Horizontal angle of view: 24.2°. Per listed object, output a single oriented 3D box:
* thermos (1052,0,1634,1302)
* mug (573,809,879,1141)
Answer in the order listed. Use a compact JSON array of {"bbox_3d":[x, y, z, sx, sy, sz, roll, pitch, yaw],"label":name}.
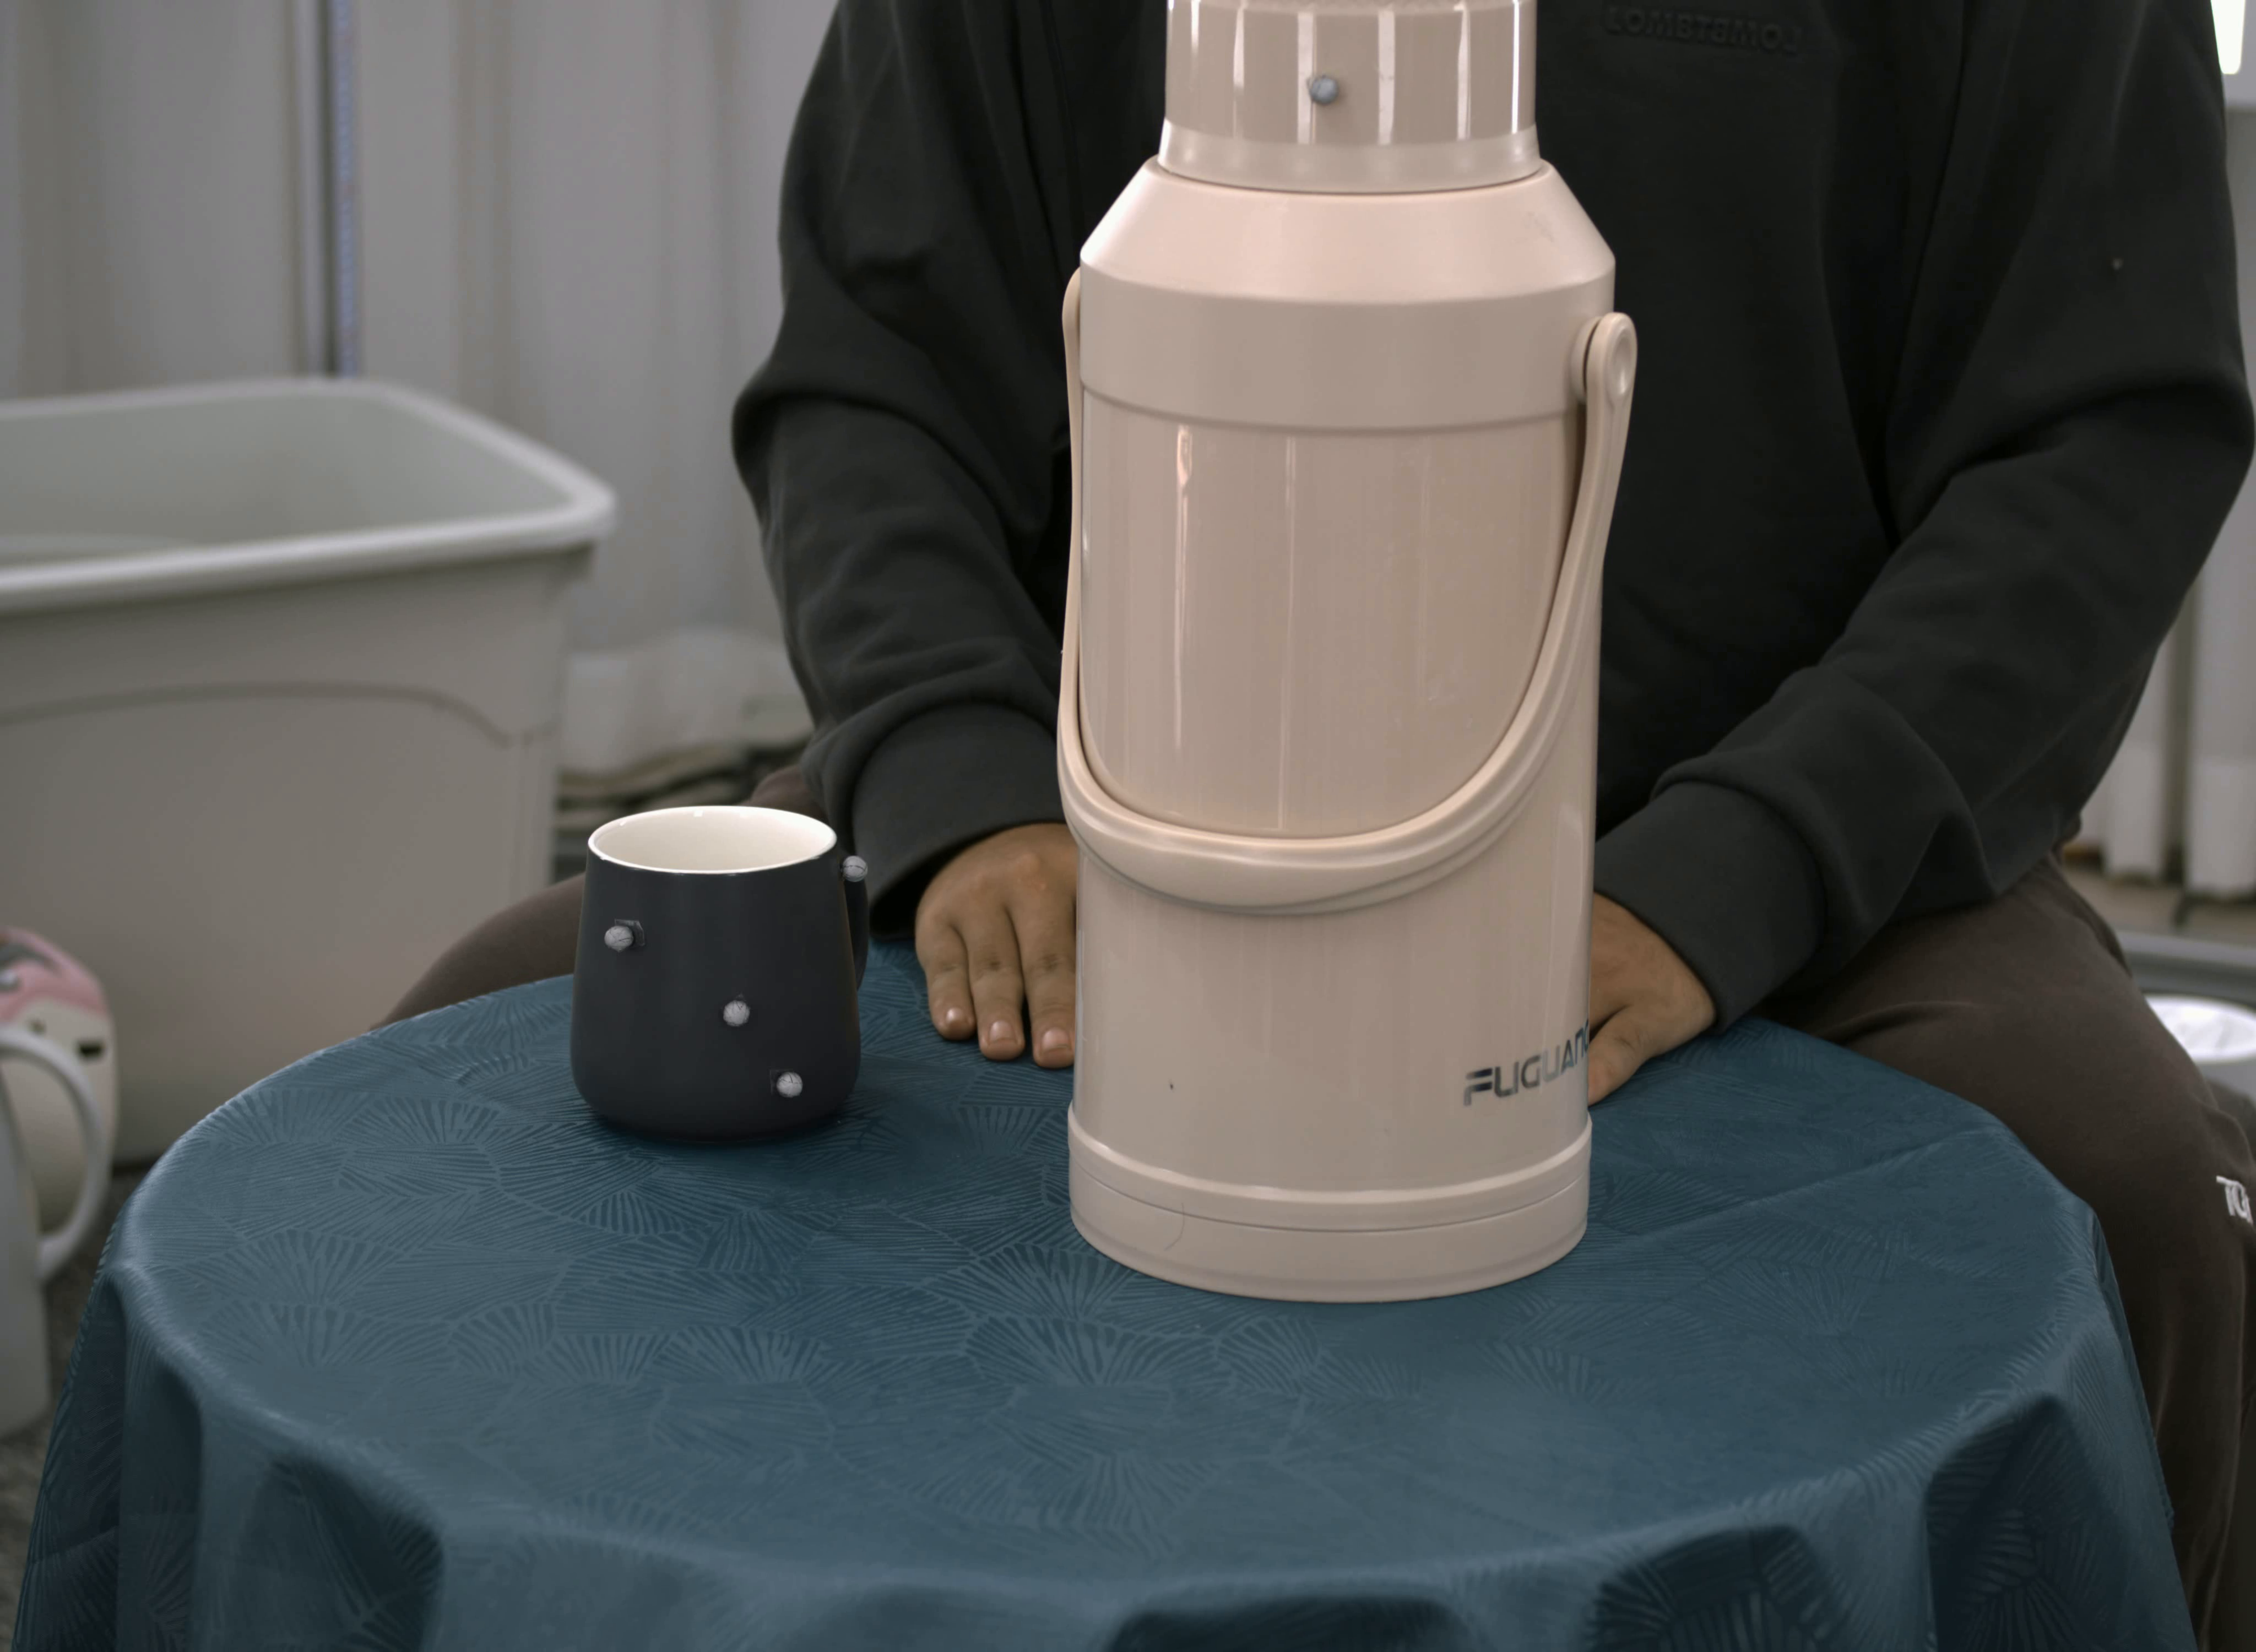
[{"bbox_3d":[0.069,-0.076,1.566,0.173,0.410,0.207,8,18,25],"label":"thermos"},{"bbox_3d":[-0.123,0.044,1.697,0.092,0.090,0.124,12,19,34],"label":"mug"}]
